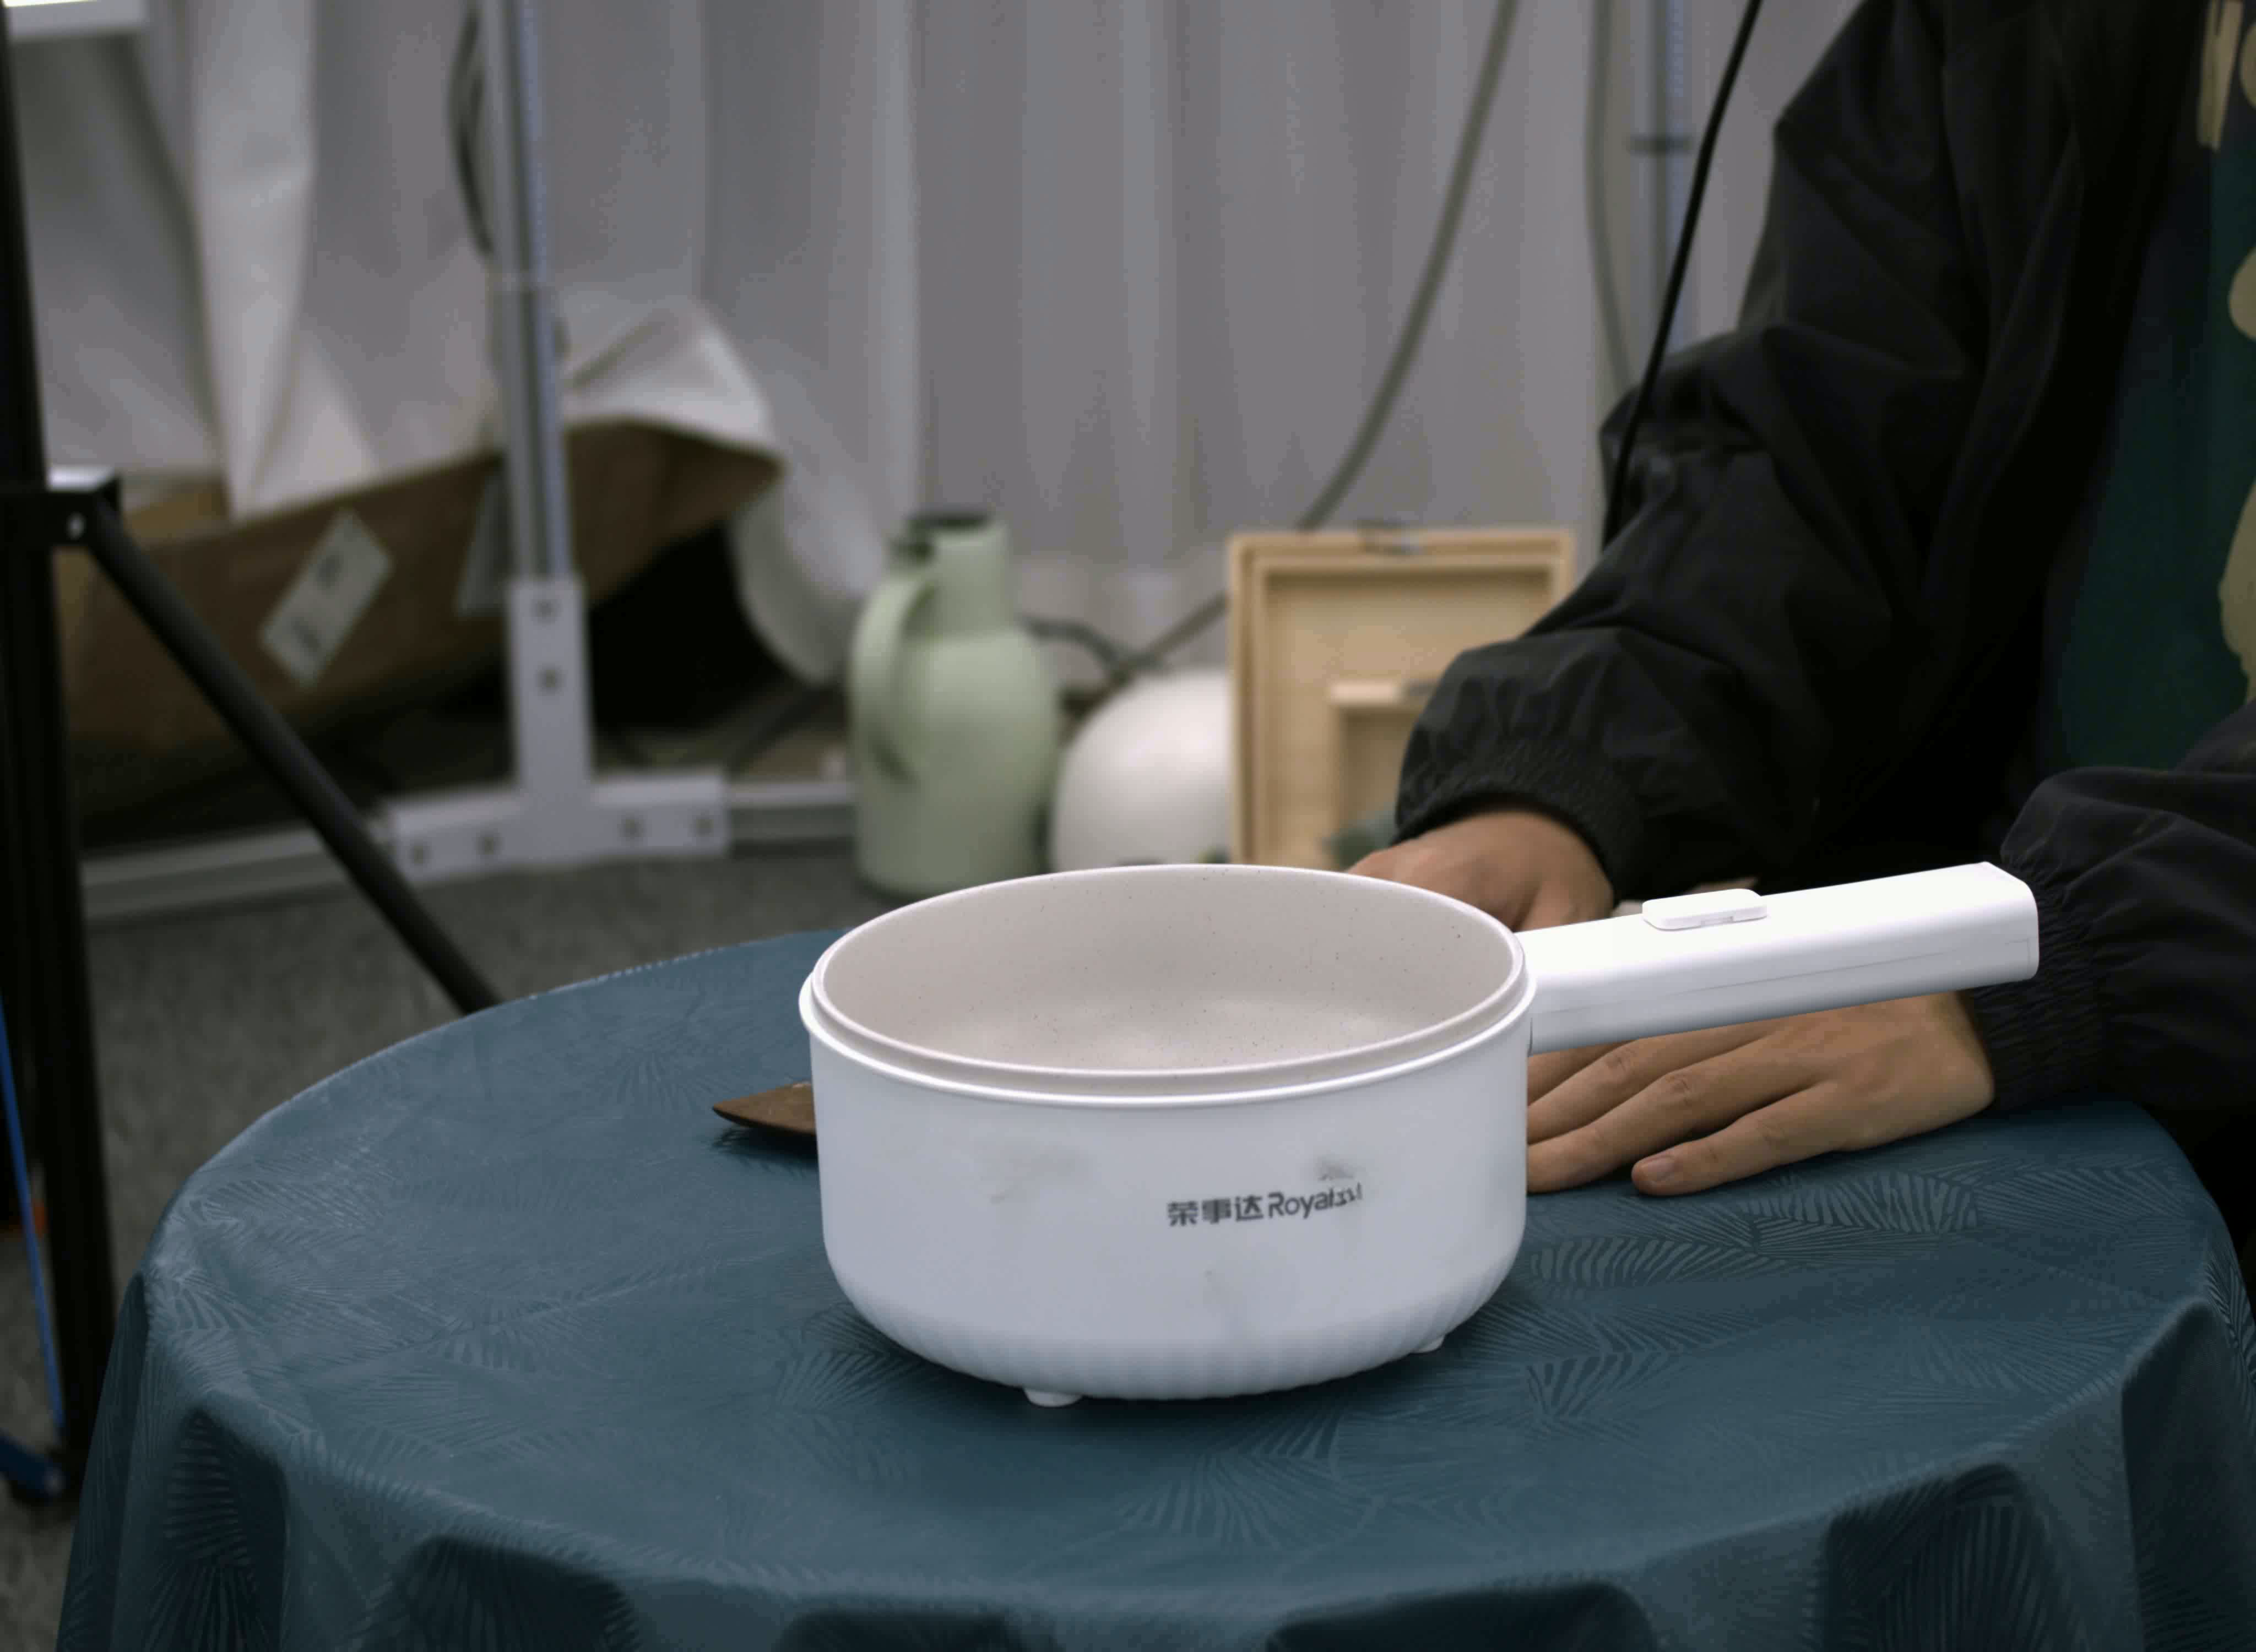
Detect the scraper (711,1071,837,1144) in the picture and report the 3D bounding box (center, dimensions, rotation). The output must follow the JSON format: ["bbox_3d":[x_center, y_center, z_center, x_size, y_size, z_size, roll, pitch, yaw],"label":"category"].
[{"bbox_3d":[-0.045,0.071,1.684,0.077,0.011,0.207,9,19,32],"label":"scraper"}]

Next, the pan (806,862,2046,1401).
[{"bbox_3d":[0.086,0.078,1.472,0.349,0.102,0.204,-5,15,-15],"label":"pan"}]
